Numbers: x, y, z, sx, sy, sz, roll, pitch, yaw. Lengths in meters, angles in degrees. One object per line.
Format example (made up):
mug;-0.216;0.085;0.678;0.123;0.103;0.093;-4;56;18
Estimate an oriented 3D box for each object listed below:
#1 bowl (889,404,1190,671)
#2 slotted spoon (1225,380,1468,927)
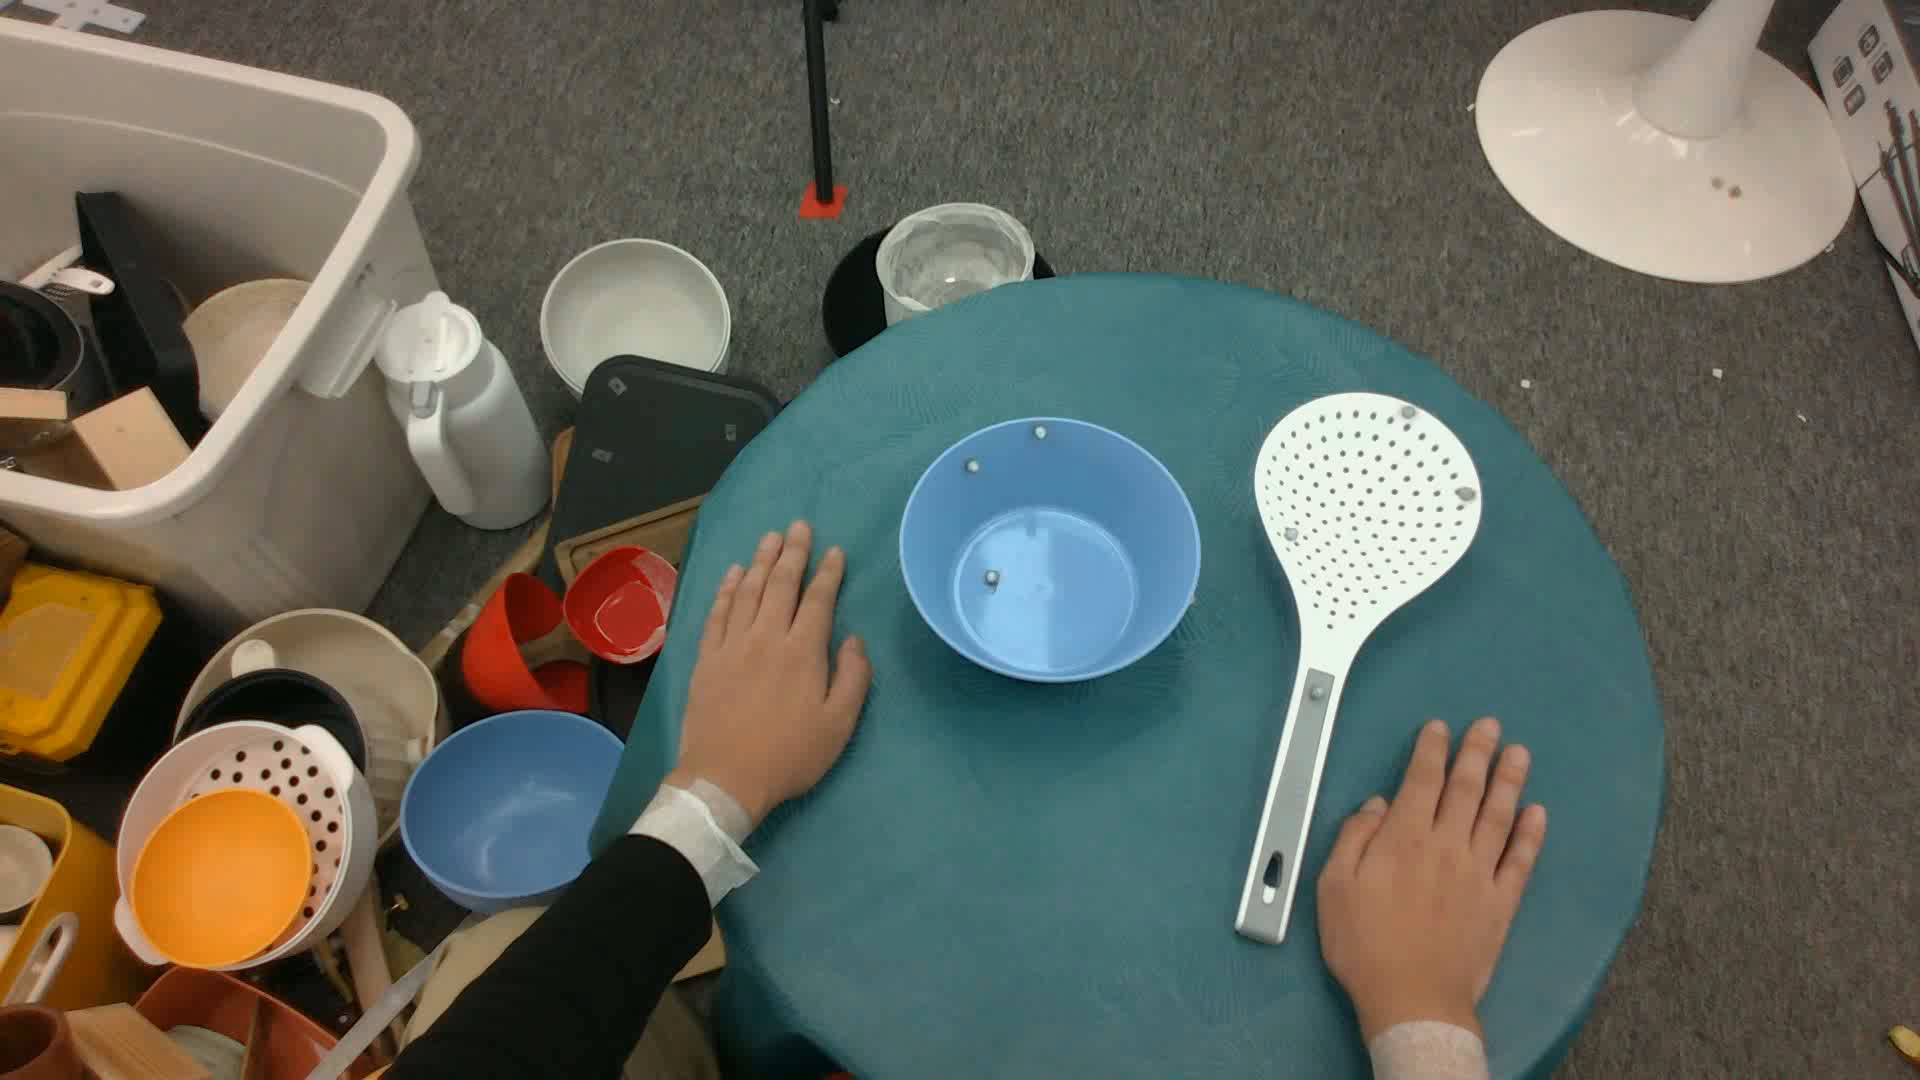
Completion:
bowl;0.046;0.009;0.827;0.176;0.070;0.177;1;62;-1
slotted spoon;0.213;0.057;0.819;0.136;0.045;0.351;17;63;7
